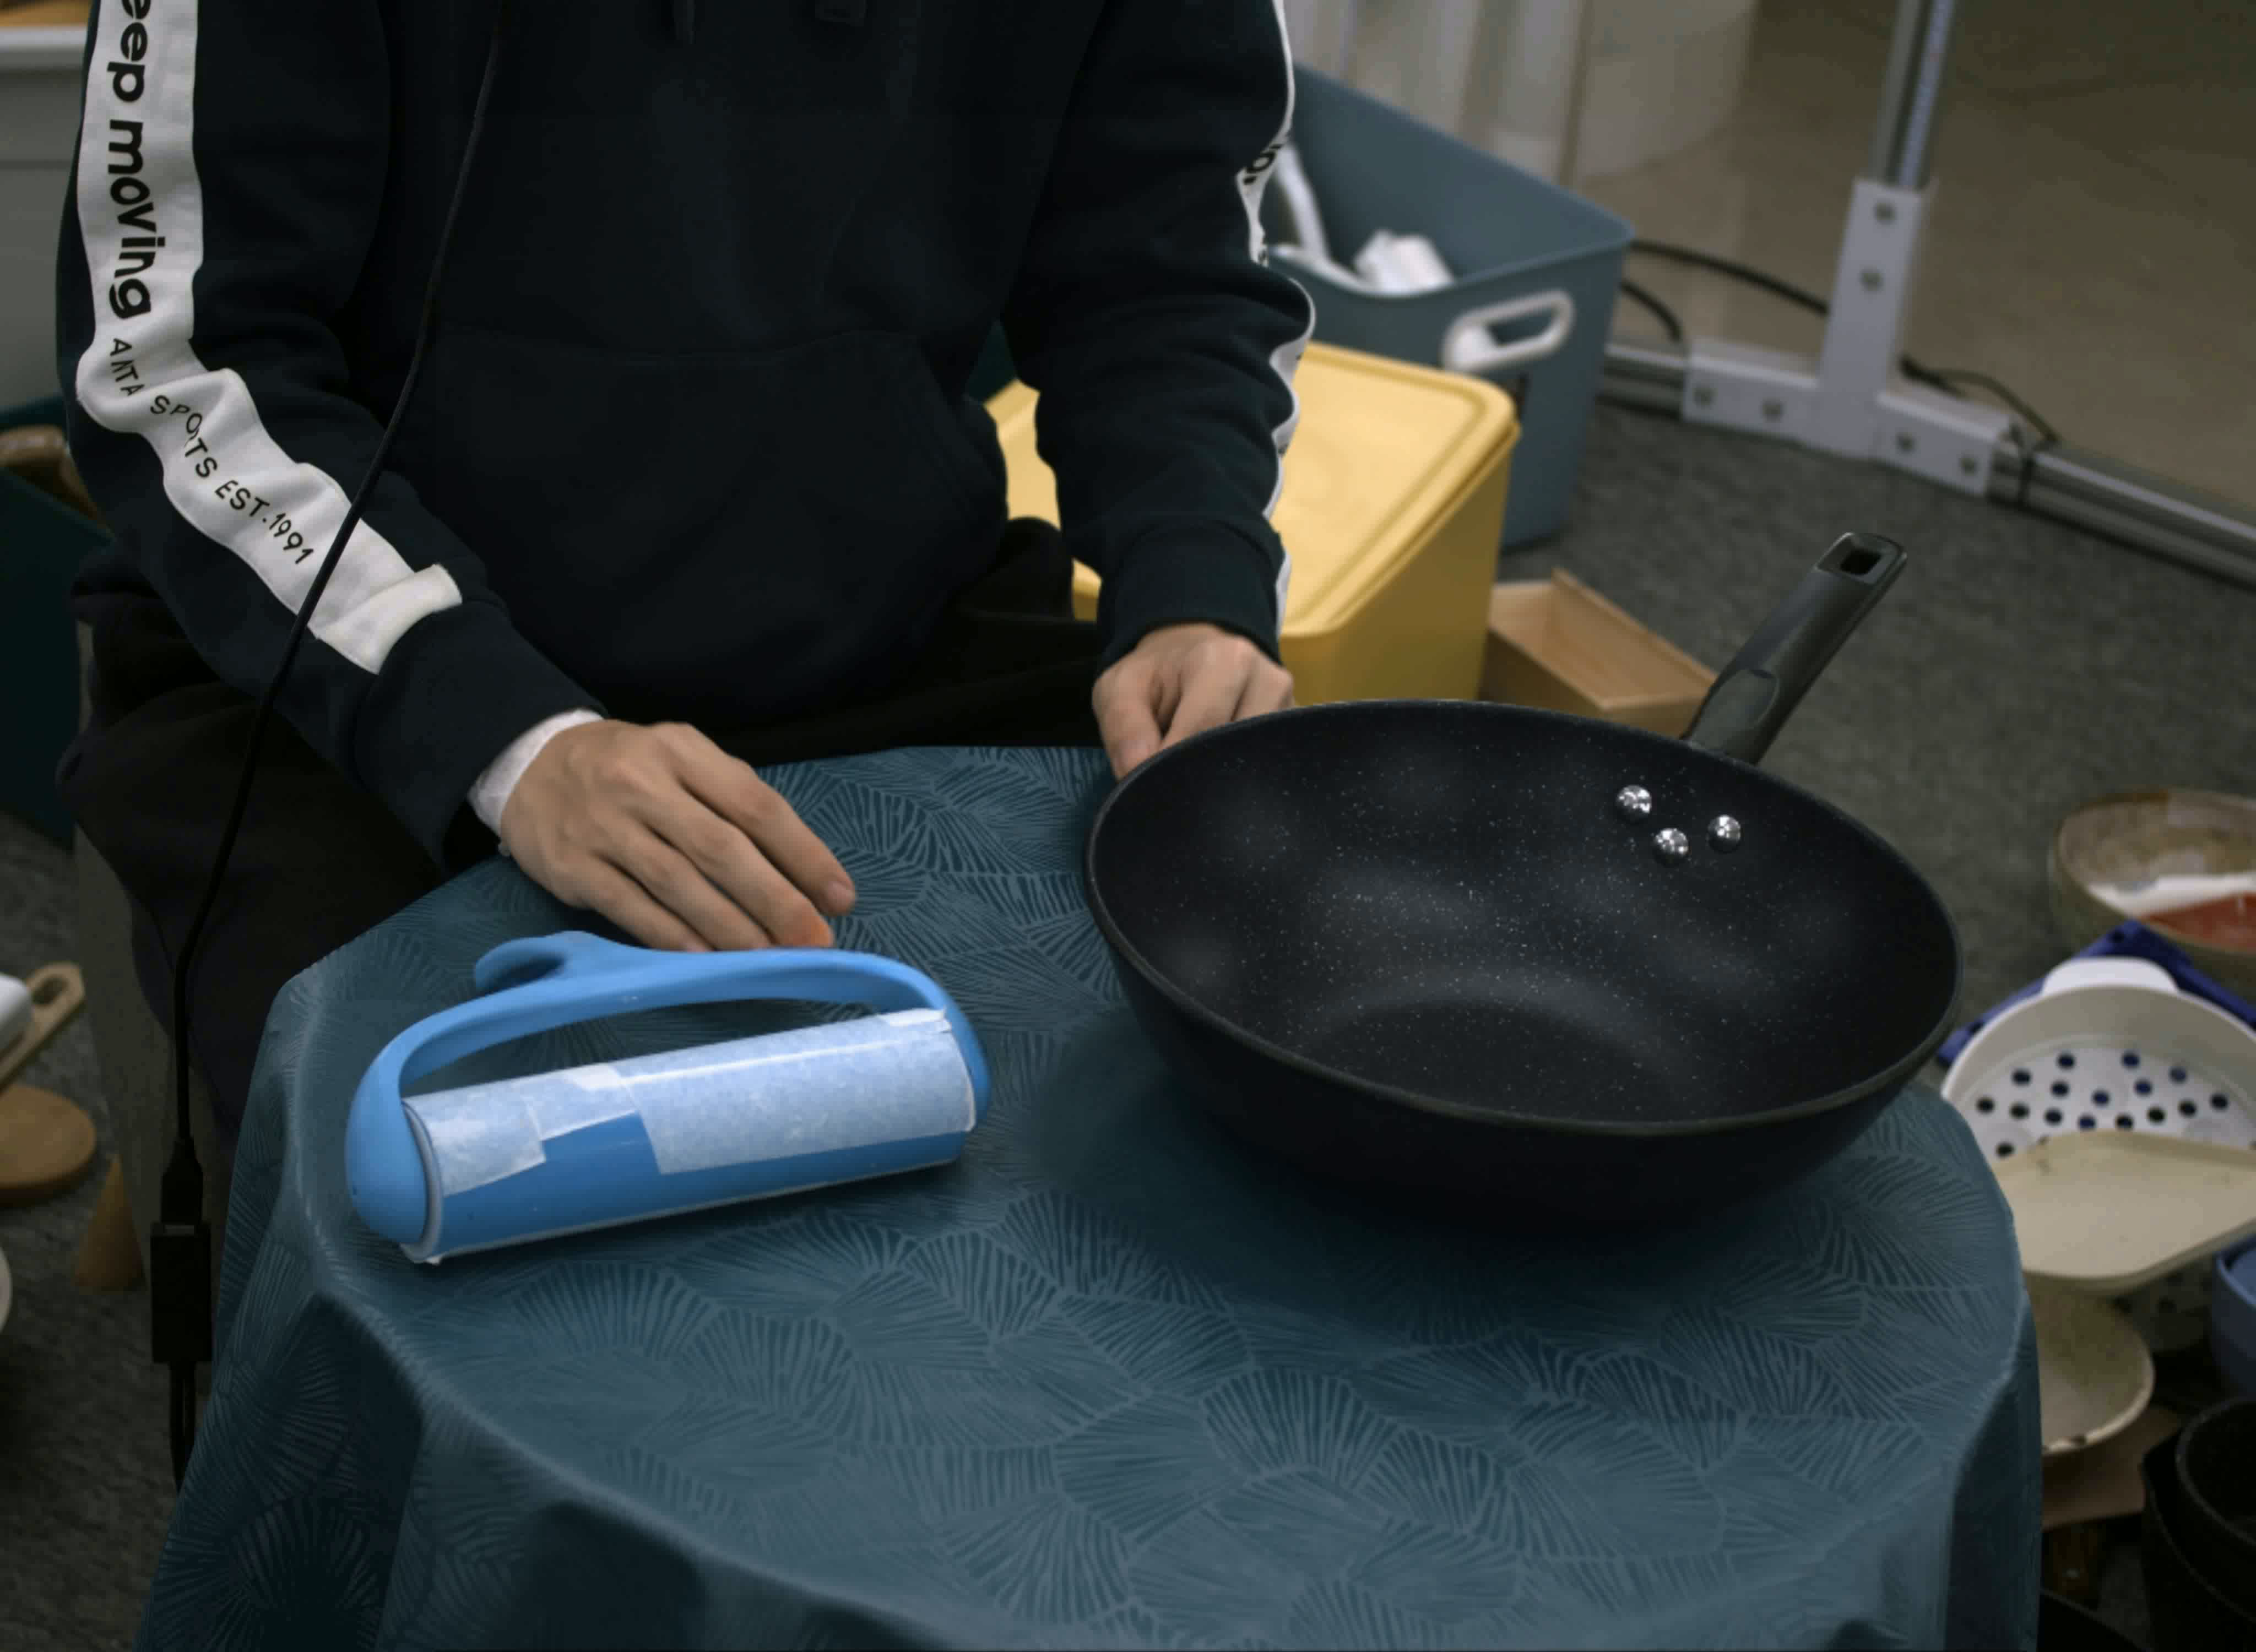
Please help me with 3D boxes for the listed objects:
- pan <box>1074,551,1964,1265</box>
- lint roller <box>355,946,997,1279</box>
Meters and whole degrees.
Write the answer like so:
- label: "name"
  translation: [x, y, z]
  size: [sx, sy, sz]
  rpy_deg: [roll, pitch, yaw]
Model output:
- label: "pan"
  translation: [0.171, 0.027, 1.910]
  size: [0.311, 0.111, 0.476]
  rpy_deg: [20, 30, 22]
- label: "lint roller"
  translation: [-0.177, 0.075, 1.793]
  size: [0.227, 0.067, 0.182]
  rpy_deg: [-13, 34, -30]
